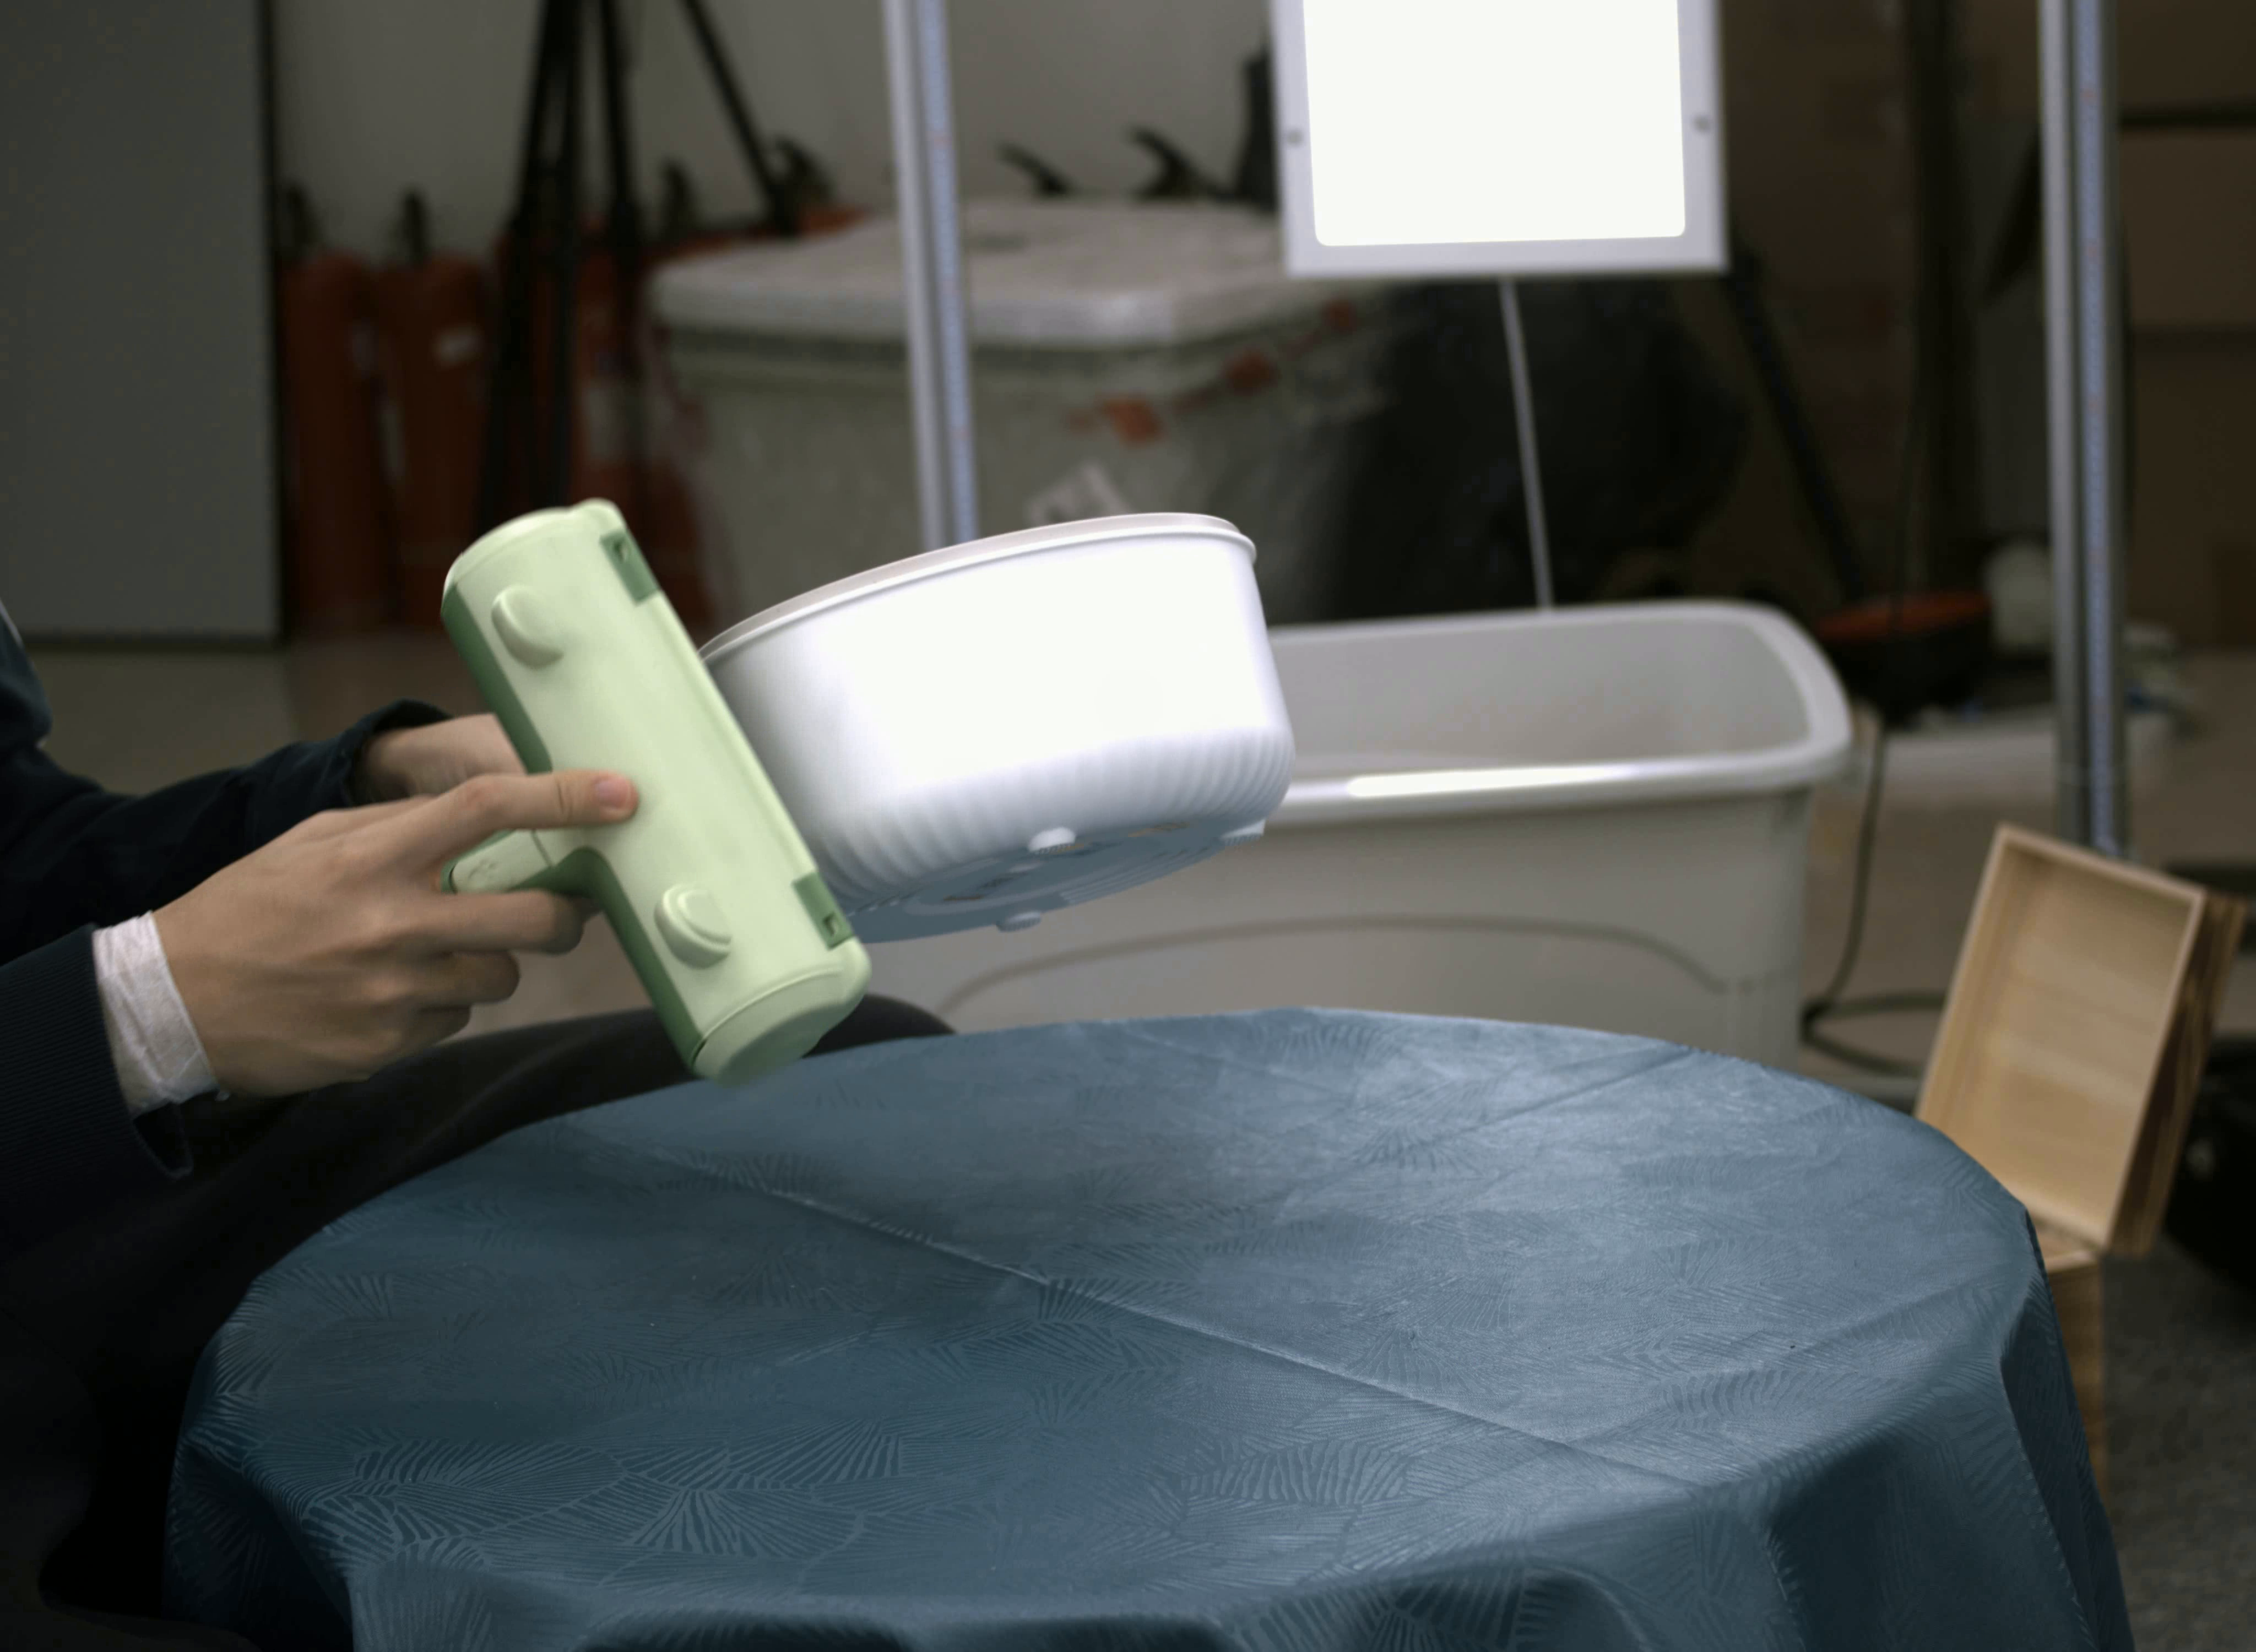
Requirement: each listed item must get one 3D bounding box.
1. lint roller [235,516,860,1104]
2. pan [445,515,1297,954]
[{"bbox_3d":[-0.207,0.017,1.756,0.182,0.200,0.082,-28,-20,-6],"label":"lint roller"},{"bbox_3d":[-0.099,0.000,1.902,0.363,0.102,0.196,-23,-12,38],"label":"pan"}]
